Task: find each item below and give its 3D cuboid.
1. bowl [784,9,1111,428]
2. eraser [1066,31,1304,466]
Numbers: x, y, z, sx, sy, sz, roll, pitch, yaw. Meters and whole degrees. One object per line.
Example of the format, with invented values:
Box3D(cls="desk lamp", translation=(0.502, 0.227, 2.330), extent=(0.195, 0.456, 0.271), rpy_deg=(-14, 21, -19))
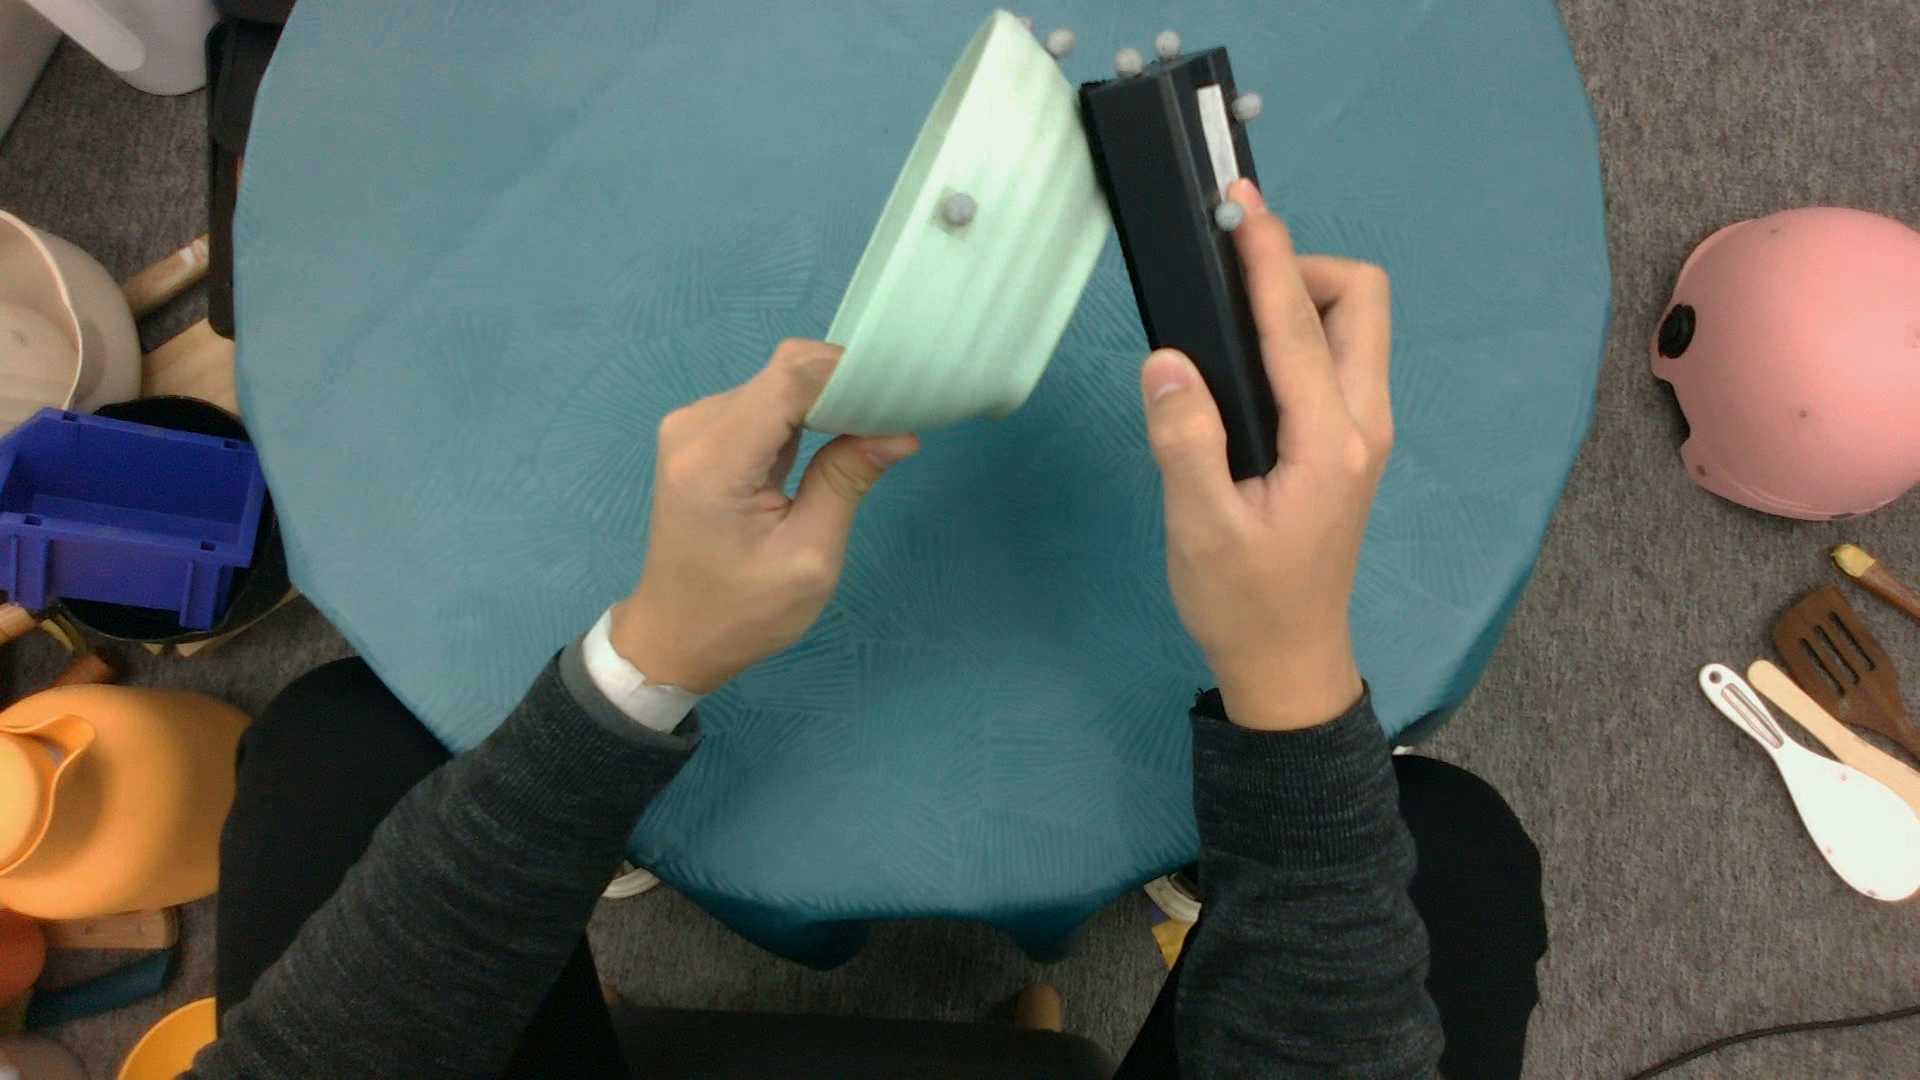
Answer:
Box3D(cls="bowl", translation=(-0.001, -0.090, 0.444), extent=(0.058, 0.151, 0.151), rpy_deg=(25, 81, -12))
Box3D(cls="eraser", translation=(0.072, -0.089, 0.429), extent=(0.030, 0.054, 0.125), rpy_deg=(-5, 113, 37))
